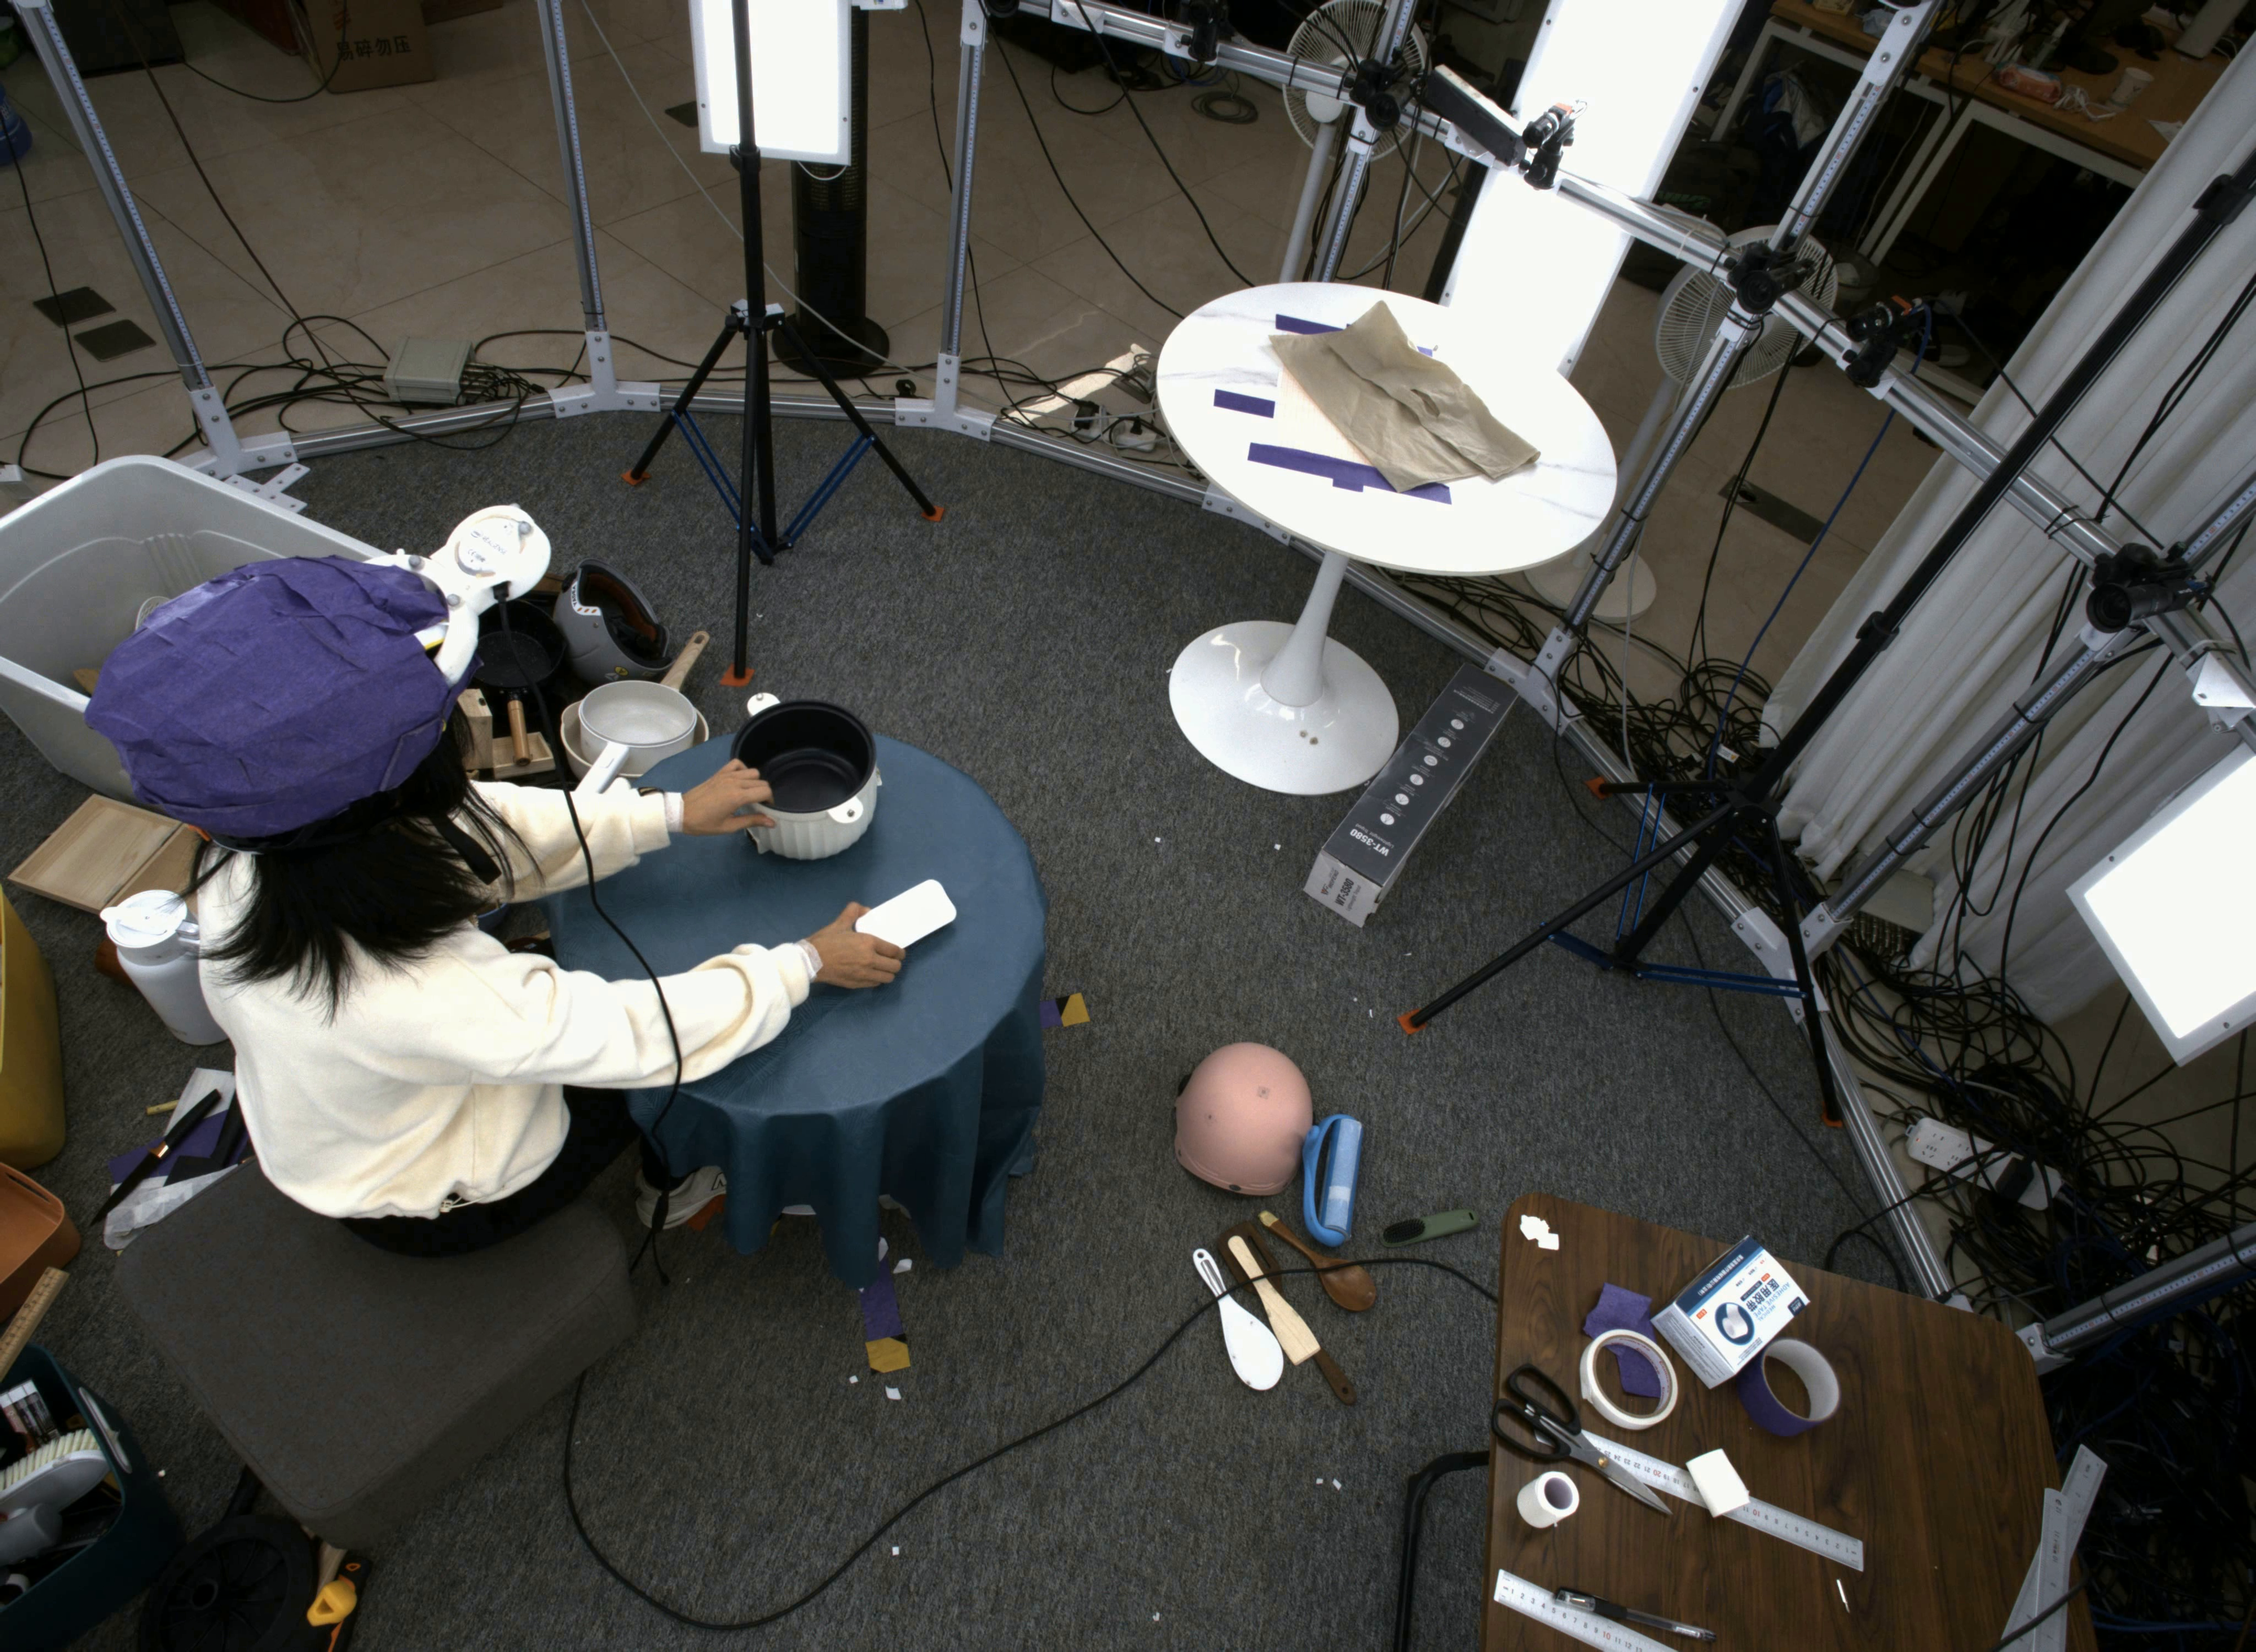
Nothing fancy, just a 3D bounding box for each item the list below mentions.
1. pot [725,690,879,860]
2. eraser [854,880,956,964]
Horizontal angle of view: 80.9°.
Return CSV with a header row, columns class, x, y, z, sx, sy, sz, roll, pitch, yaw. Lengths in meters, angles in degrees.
class,x,y,z,sx,sy,sz,roll,pitch,yaw
pot,-0.412,-0.058,1.673,0.191,0.145,0.235,-34,68,-26
eraser,-0.282,0.118,1.637,0.132,0.034,0.063,-31,82,-34
